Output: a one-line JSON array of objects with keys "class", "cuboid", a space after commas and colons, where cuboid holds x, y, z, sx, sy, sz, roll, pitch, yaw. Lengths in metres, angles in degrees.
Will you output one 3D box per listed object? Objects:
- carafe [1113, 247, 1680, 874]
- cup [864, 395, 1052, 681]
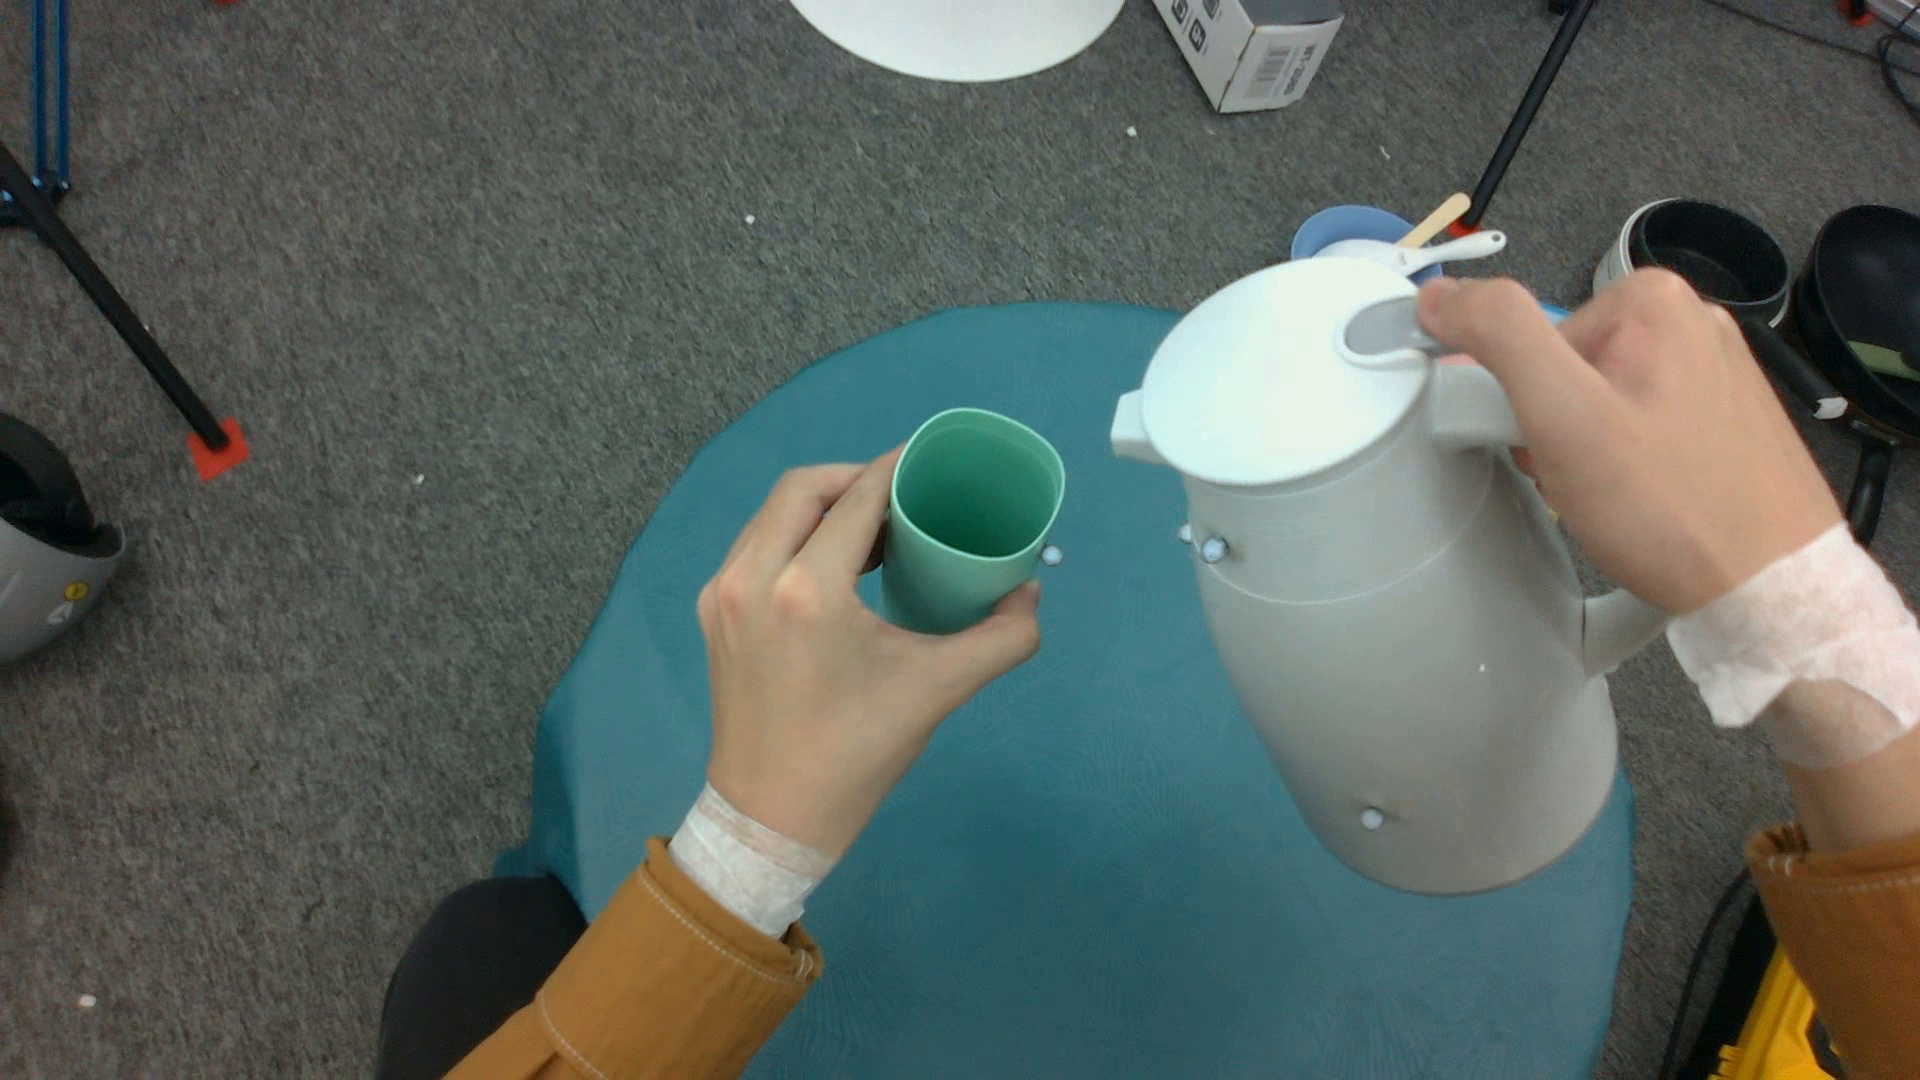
[{"class": "carafe", "cuboid": [0.166, 0.008, 0.496, 0.167, 0.248, 0.133, -3, 52, 29]}, {"class": "cup", "cuboid": [-0.005, 0.005, 0.572, 0.067, 0.131, 0.067, 3, 61, -6]}]
